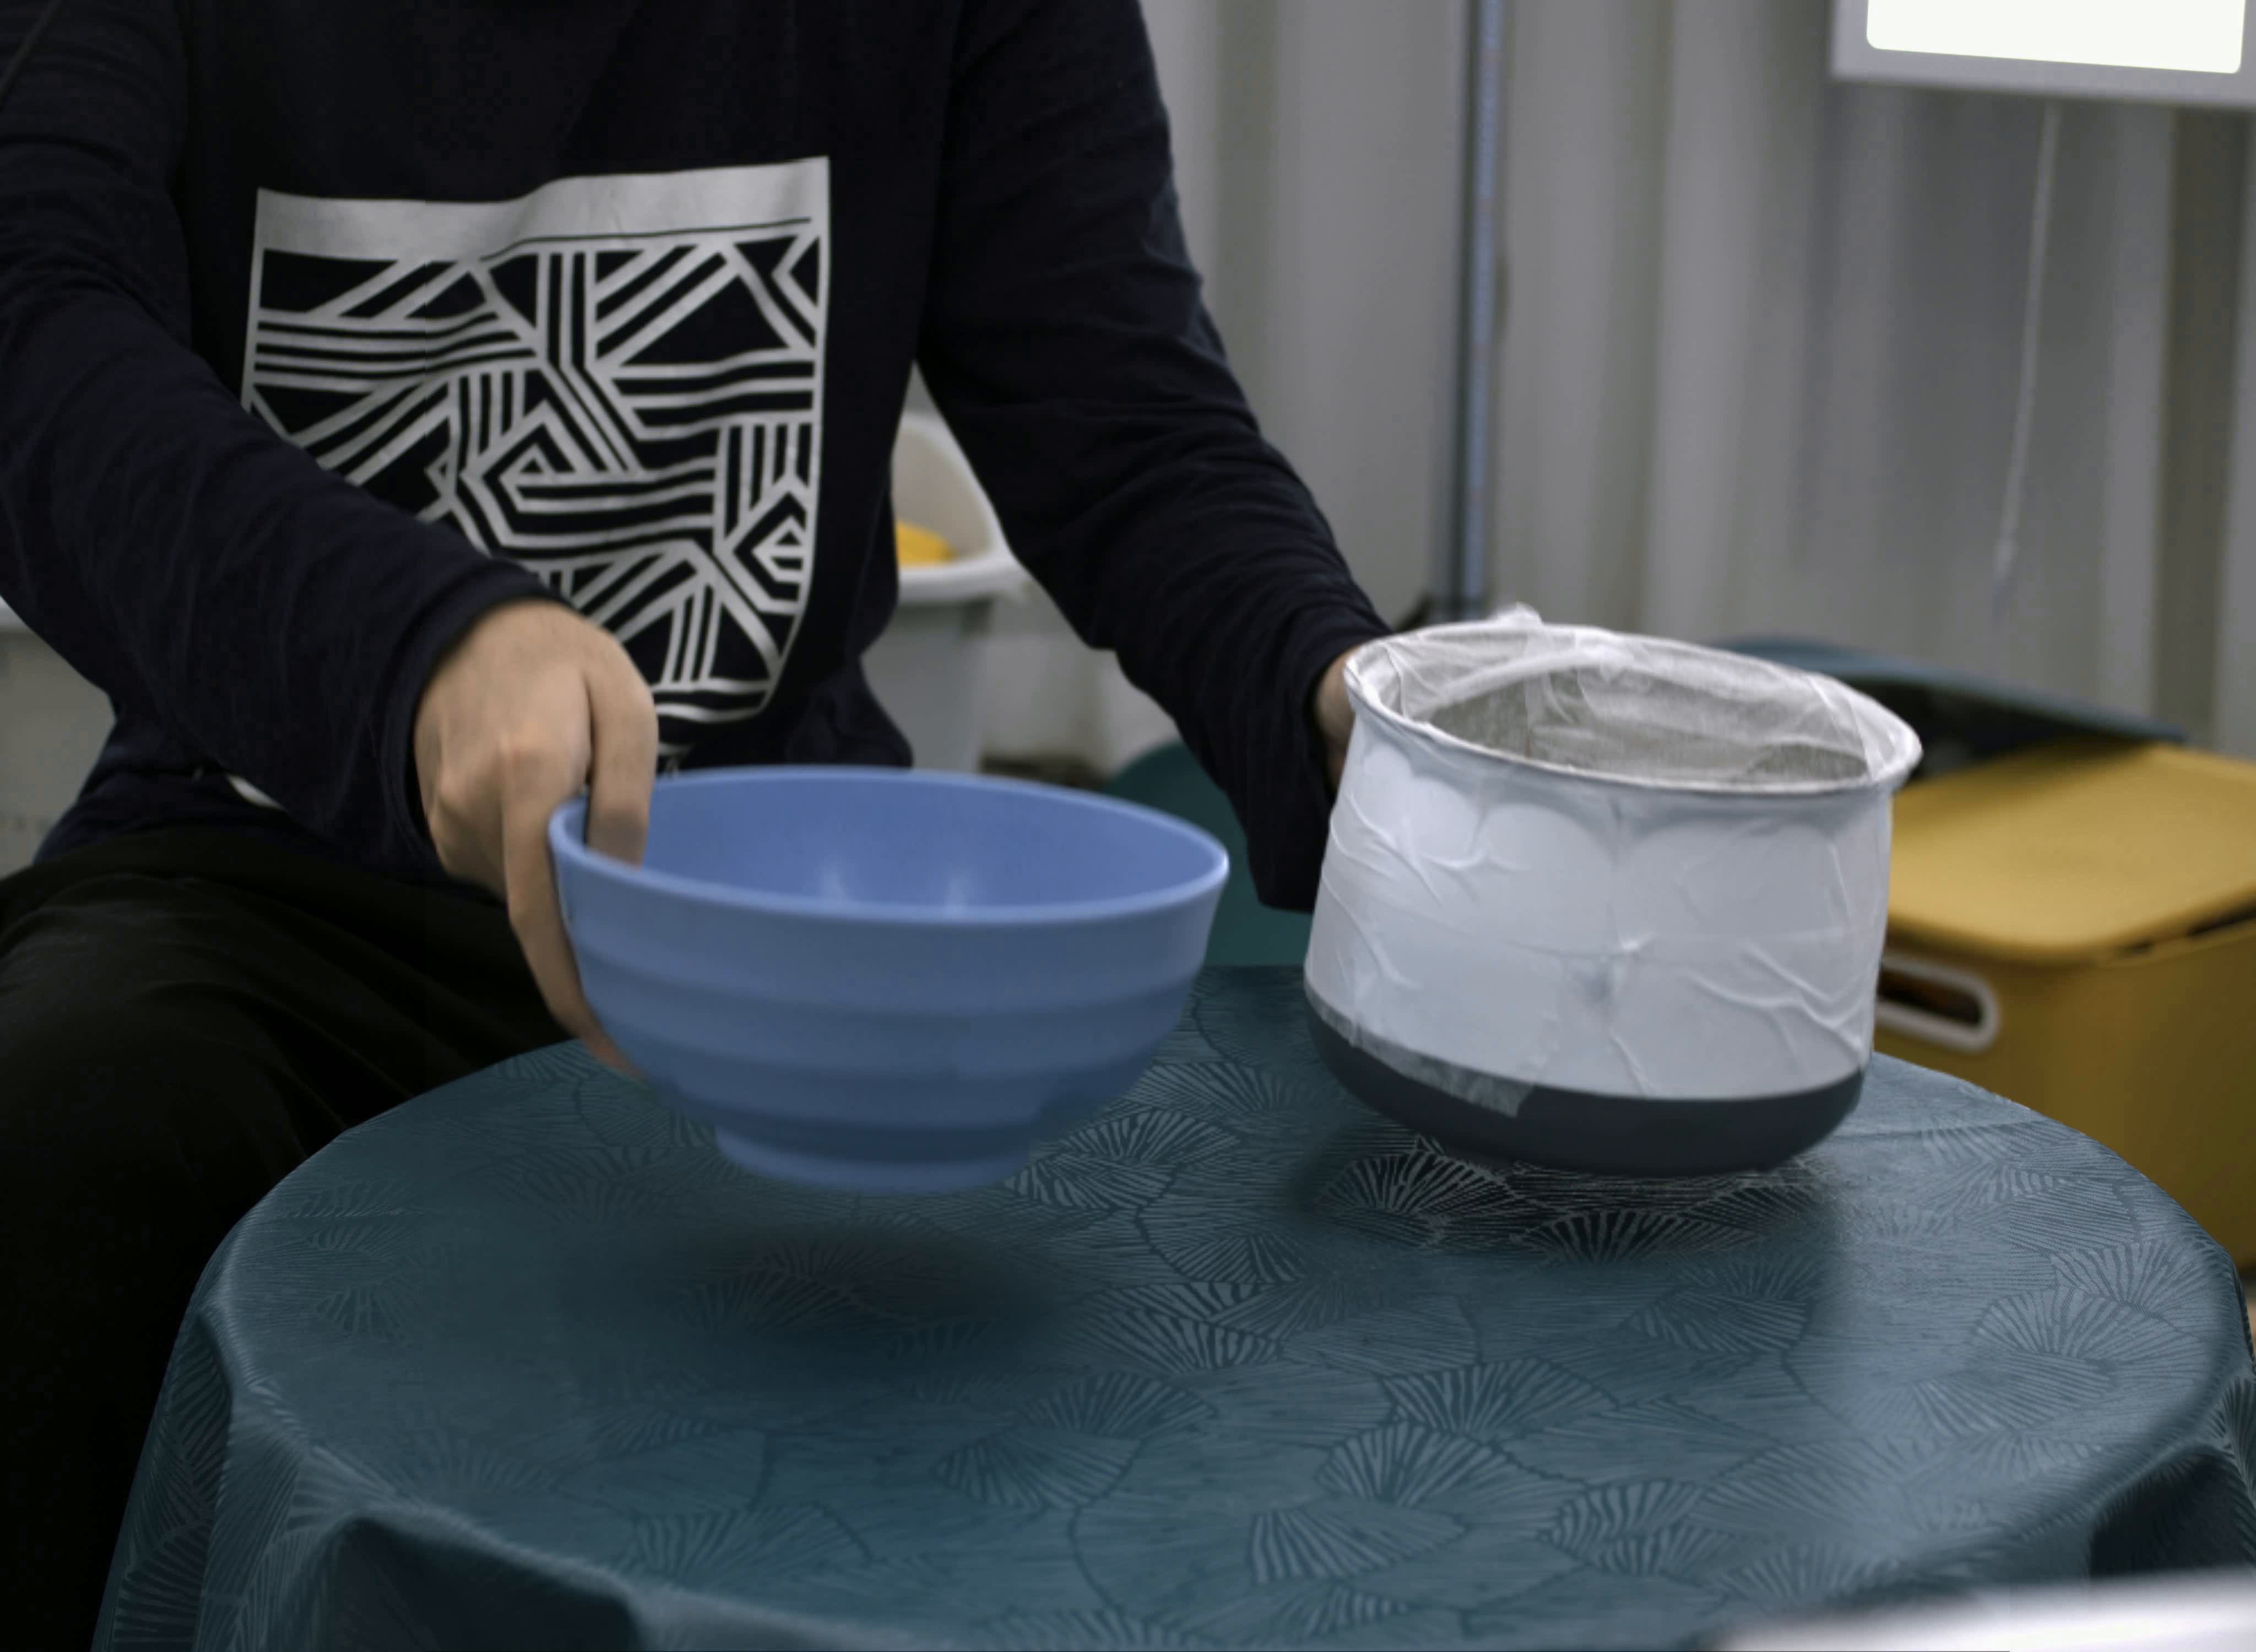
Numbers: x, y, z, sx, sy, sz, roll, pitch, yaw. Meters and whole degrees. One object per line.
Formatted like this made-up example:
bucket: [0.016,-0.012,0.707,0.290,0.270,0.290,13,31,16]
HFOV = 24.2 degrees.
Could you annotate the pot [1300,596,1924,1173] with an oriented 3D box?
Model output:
pot: [0.137,0.013,1.642,0.179,0.137,0.231,3,17,-20]

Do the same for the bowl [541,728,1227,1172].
bowl: [-0.071,0.040,1.516,0.196,0.096,0.195,2,16,0]
